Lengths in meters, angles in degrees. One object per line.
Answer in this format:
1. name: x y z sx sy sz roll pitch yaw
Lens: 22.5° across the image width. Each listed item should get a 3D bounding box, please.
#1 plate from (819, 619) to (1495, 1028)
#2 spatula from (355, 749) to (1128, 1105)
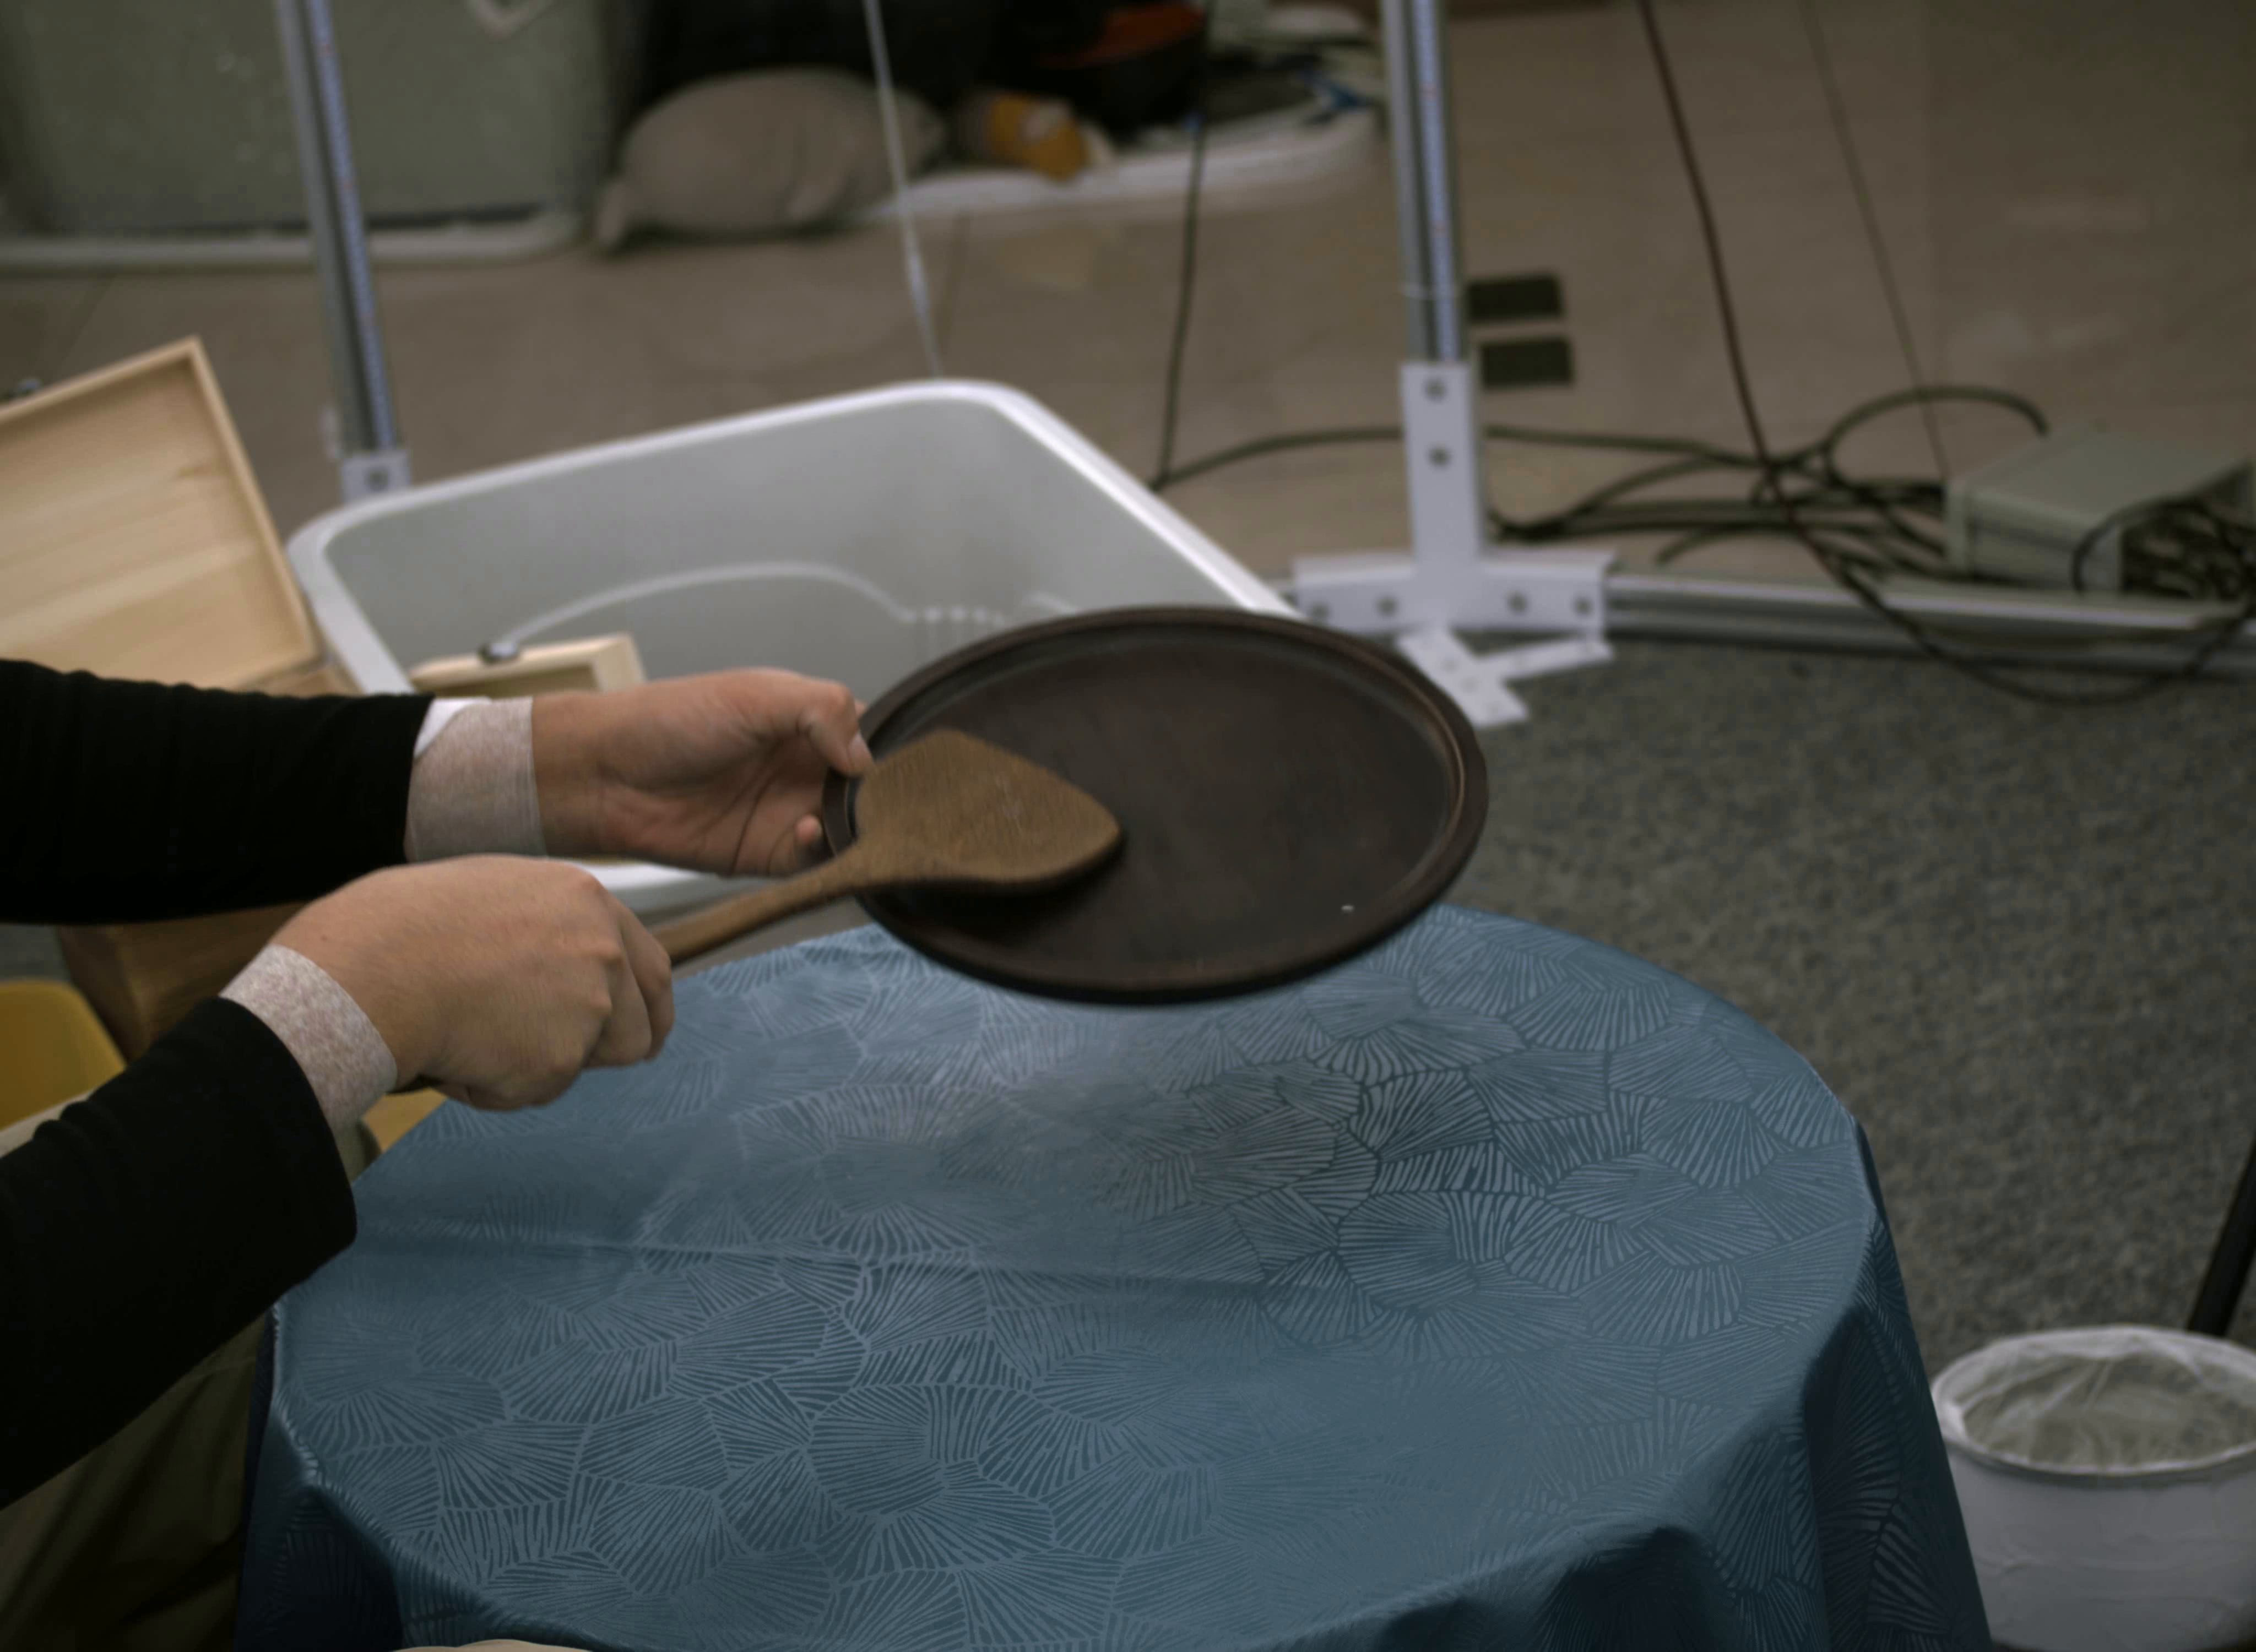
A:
1. plate: 0.011 -0.003 2.134 0.254 0.029 0.250 -1 37 1
2. spatula: -0.137 0.037 1.994 0.095 0.016 0.383 29 29 26
